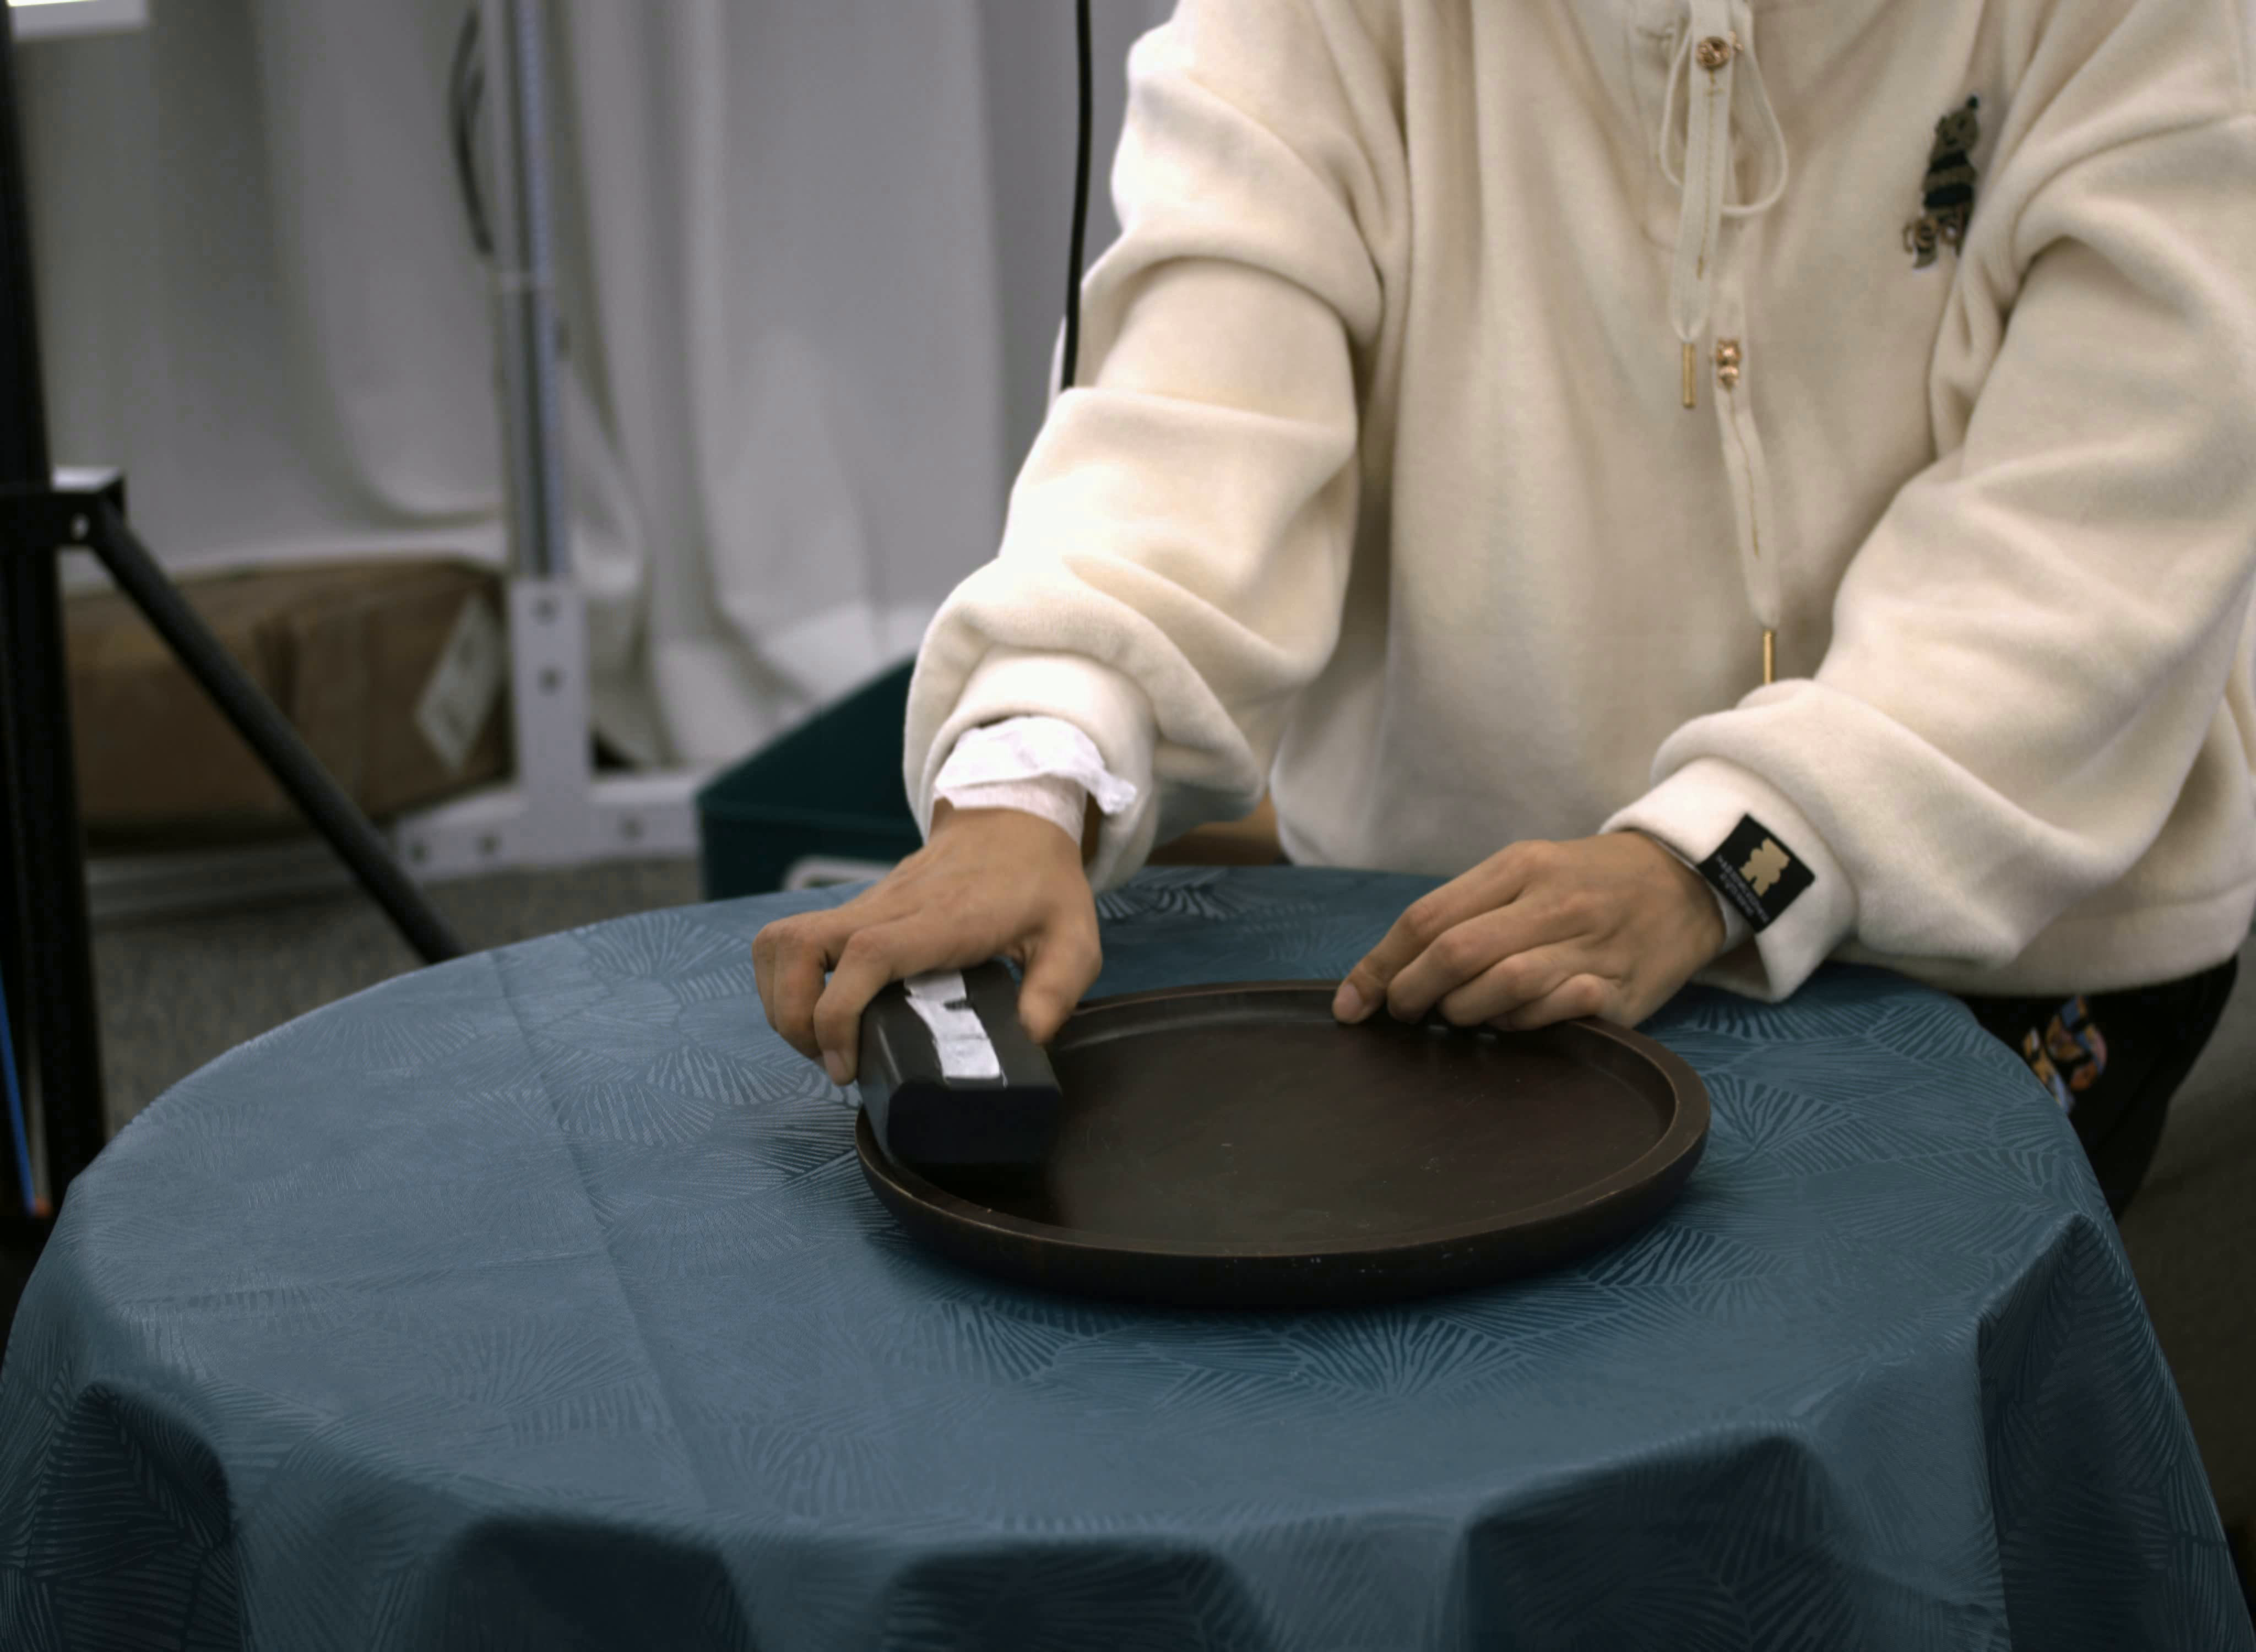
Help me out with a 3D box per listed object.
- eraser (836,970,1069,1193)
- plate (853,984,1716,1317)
[{"bbox_3d":[-0.052,0.074,1.565,0.053,0.030,0.127,4,14,-10],"label":"eraser"},{"bbox_3d":[0.046,0.092,1.561,0.253,0.029,0.256,-4,17,0],"label":"plate"}]
